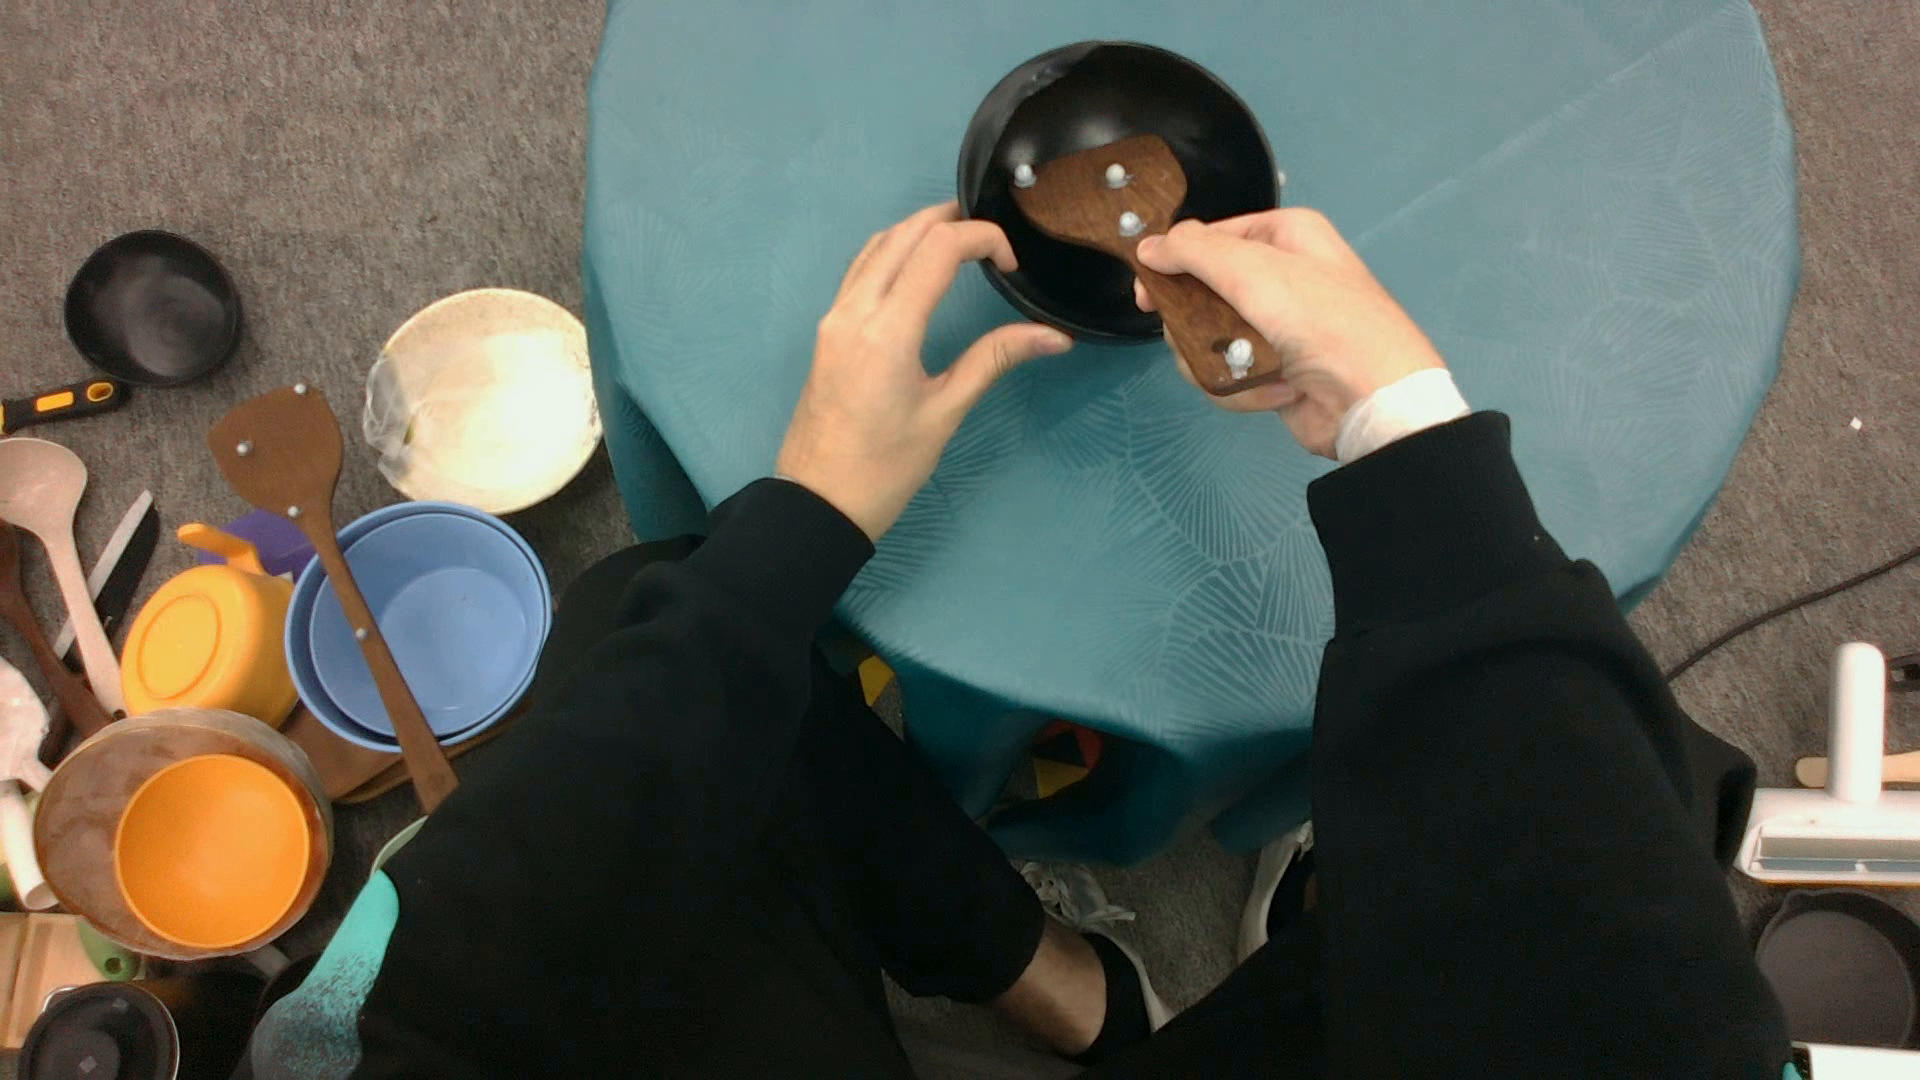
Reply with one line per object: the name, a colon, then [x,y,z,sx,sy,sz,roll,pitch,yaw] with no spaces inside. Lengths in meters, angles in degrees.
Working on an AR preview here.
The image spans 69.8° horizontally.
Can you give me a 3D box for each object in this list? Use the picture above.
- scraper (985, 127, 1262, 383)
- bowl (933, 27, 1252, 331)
scraper: [0.068,-0.116,0.545,0.076,0.011,0.212,-17,38,-3]
bowl: [0.054,-0.151,0.606,0.140,0.049,0.140,2,76,-8]
